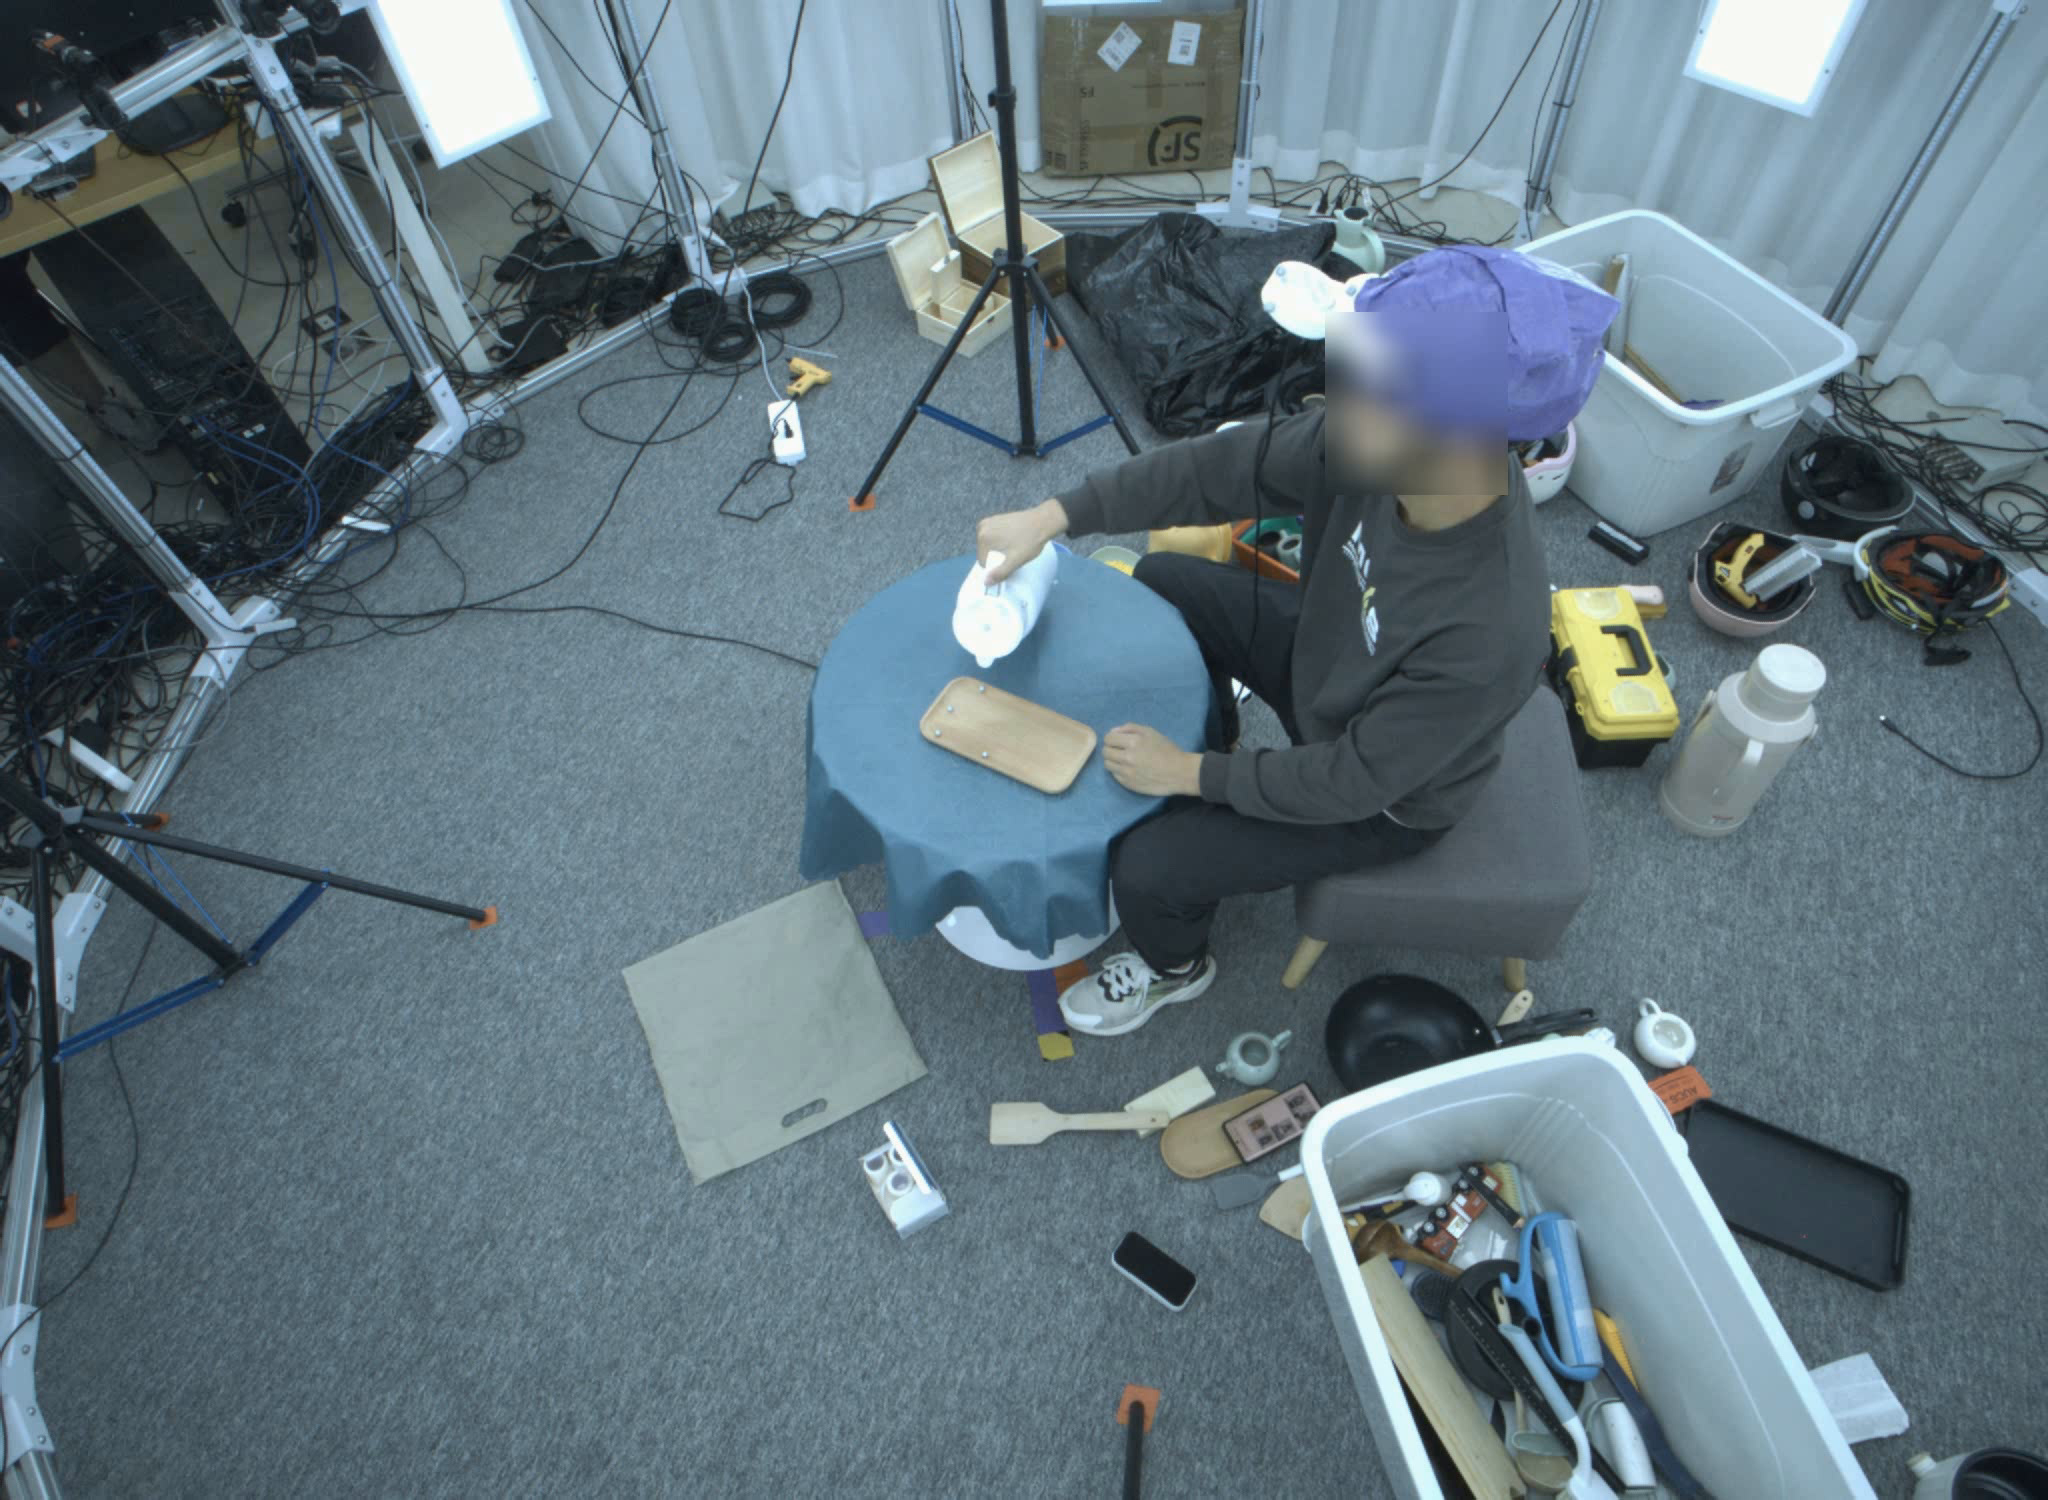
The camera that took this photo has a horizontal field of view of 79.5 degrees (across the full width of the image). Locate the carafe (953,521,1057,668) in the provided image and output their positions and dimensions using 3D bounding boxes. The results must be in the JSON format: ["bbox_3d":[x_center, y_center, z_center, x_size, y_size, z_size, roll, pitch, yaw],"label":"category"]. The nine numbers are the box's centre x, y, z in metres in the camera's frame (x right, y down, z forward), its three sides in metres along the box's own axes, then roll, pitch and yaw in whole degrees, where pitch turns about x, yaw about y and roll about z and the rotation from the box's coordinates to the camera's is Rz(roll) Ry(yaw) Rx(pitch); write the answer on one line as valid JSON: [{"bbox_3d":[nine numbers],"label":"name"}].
[{"bbox_3d":[-0.027,-0.249,1.791,0.123,0.174,0.268,10,30,7],"label":"carafe"}]

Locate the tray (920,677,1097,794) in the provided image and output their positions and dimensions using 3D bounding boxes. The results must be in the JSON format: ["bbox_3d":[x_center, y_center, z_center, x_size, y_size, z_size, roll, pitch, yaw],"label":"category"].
[{"bbox_3d":[-0.023,-0.023,1.792,0.247,0.023,0.131,25,61,17],"label":"tray"}]
